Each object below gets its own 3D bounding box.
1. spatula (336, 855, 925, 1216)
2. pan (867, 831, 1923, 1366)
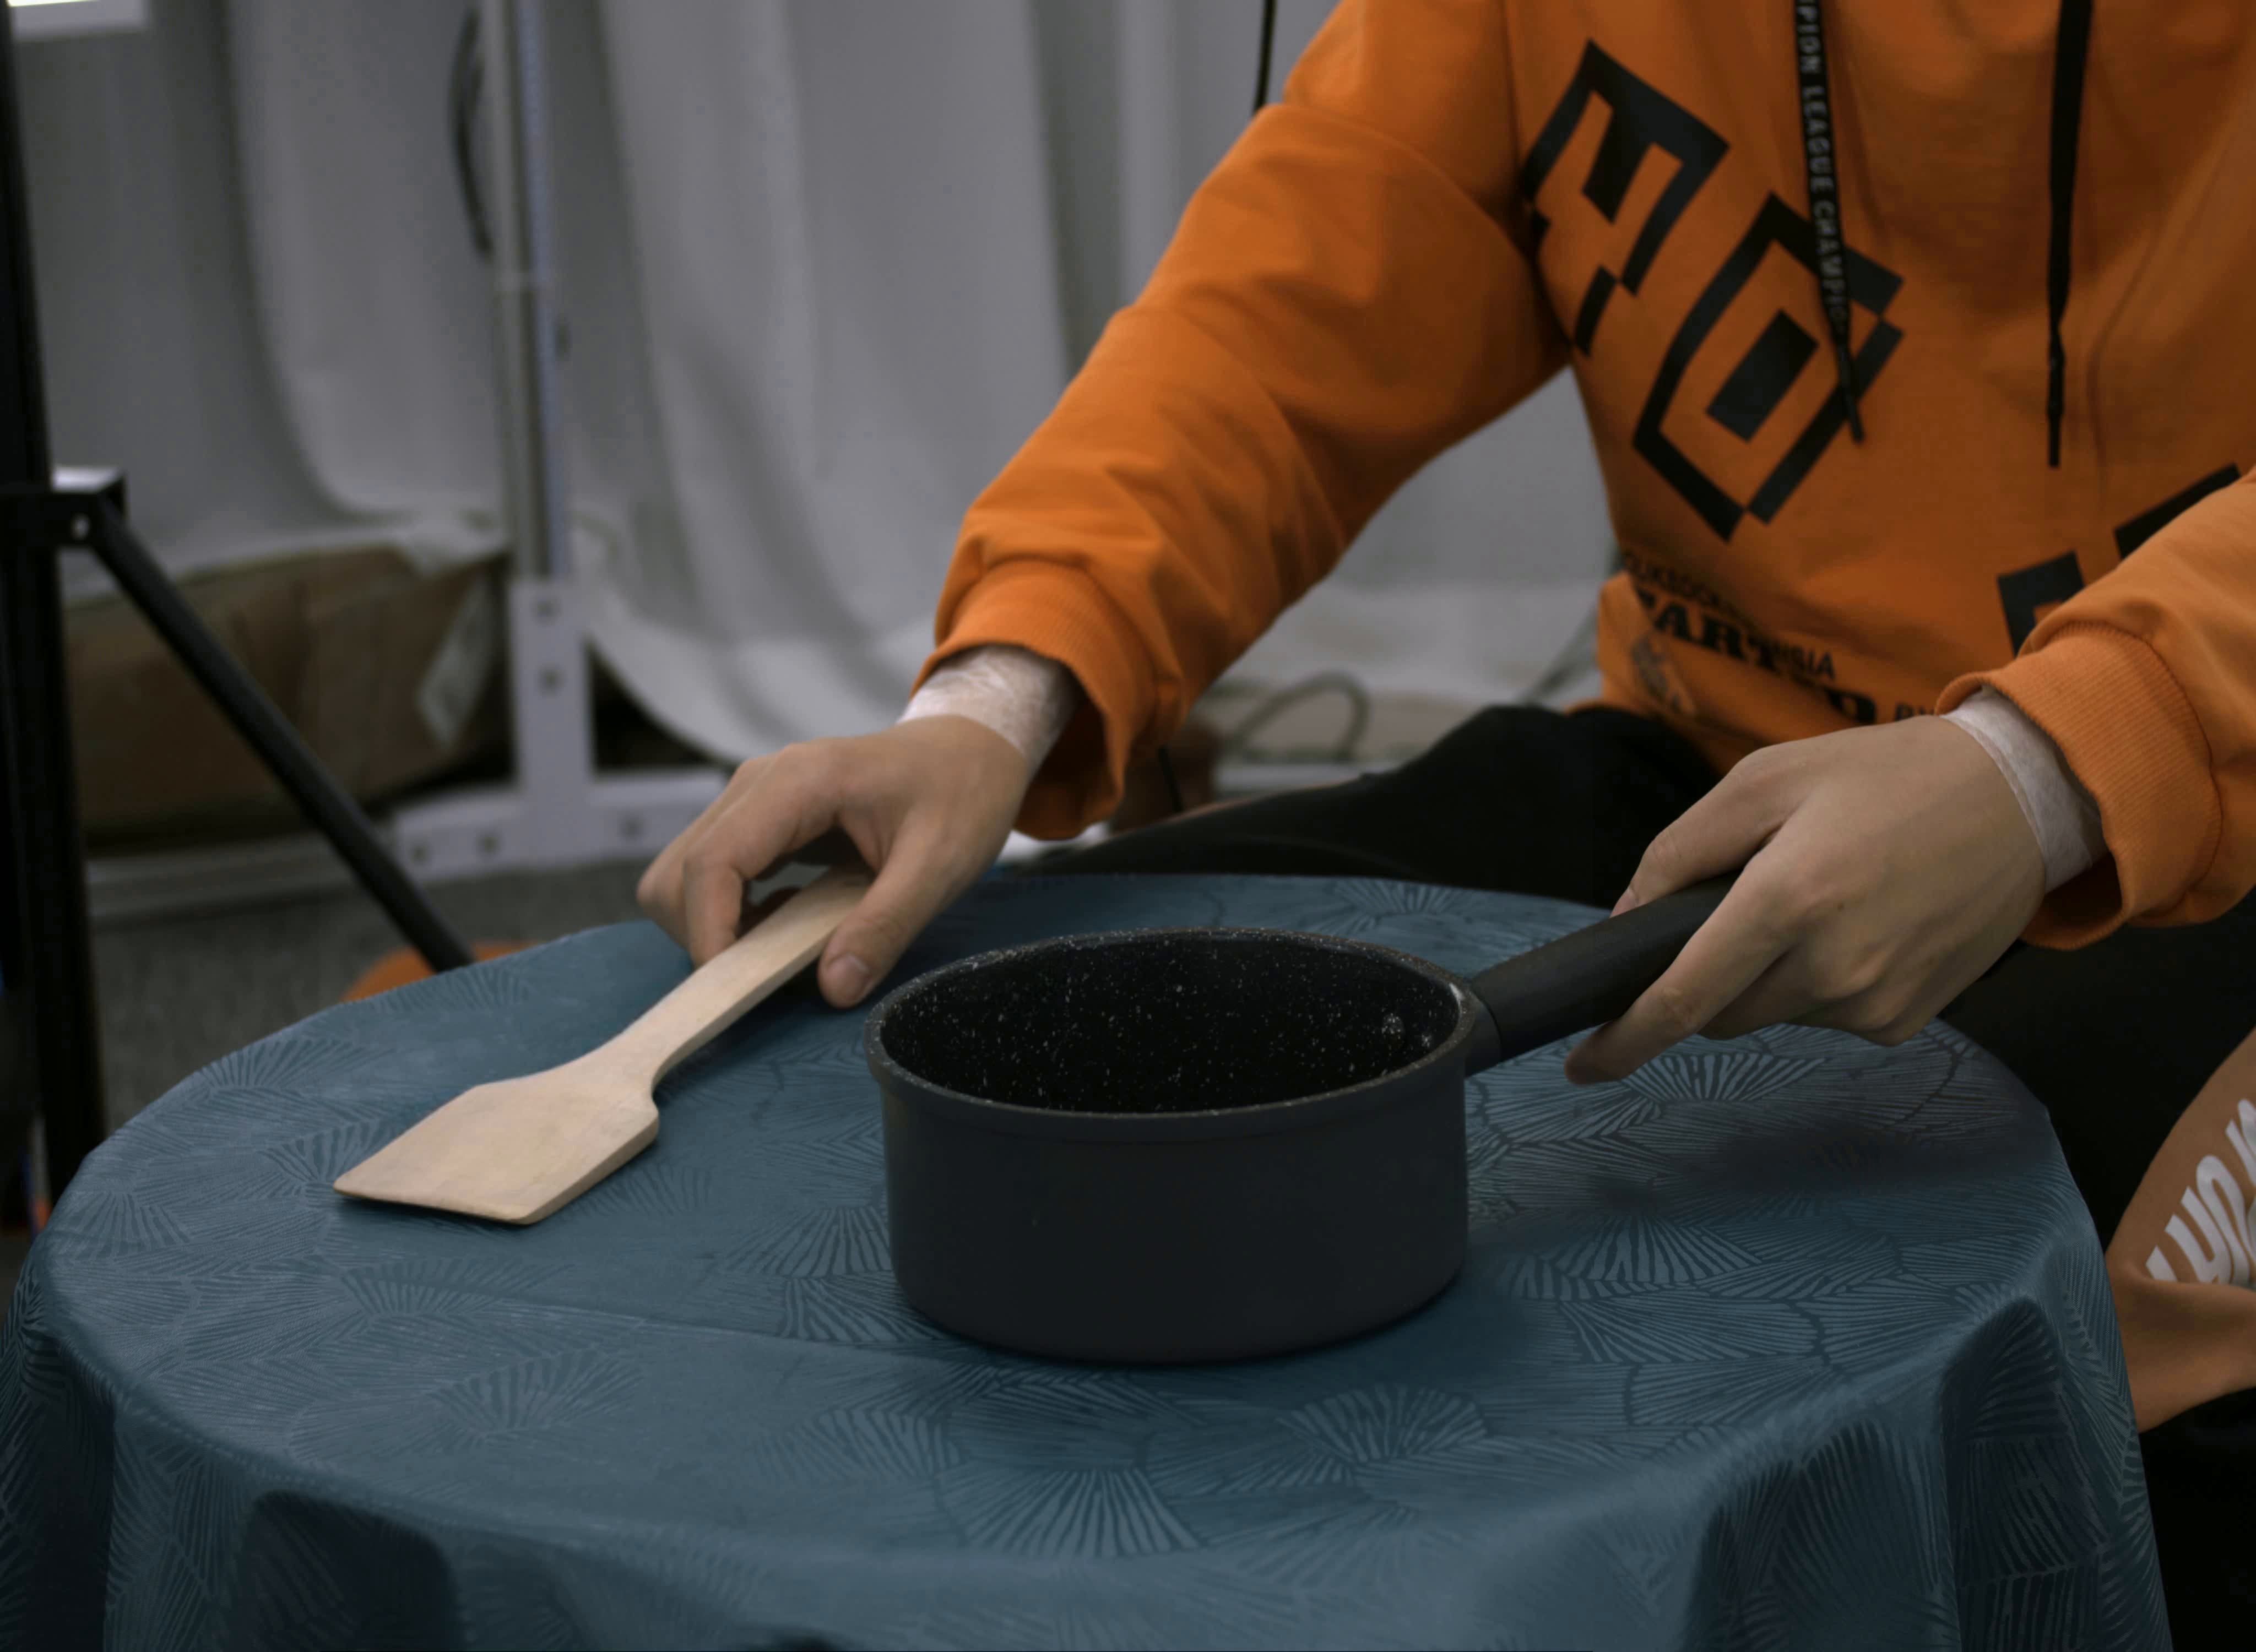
[{"bbox_3d":[-0.144,0.063,1.690,0.073,0.010,0.289,4,22,28],"label":"spatula"},{"bbox_3d":[0.084,0.073,1.513,0.322,0.086,0.175,-11,18,-23],"label":"pan"}]
